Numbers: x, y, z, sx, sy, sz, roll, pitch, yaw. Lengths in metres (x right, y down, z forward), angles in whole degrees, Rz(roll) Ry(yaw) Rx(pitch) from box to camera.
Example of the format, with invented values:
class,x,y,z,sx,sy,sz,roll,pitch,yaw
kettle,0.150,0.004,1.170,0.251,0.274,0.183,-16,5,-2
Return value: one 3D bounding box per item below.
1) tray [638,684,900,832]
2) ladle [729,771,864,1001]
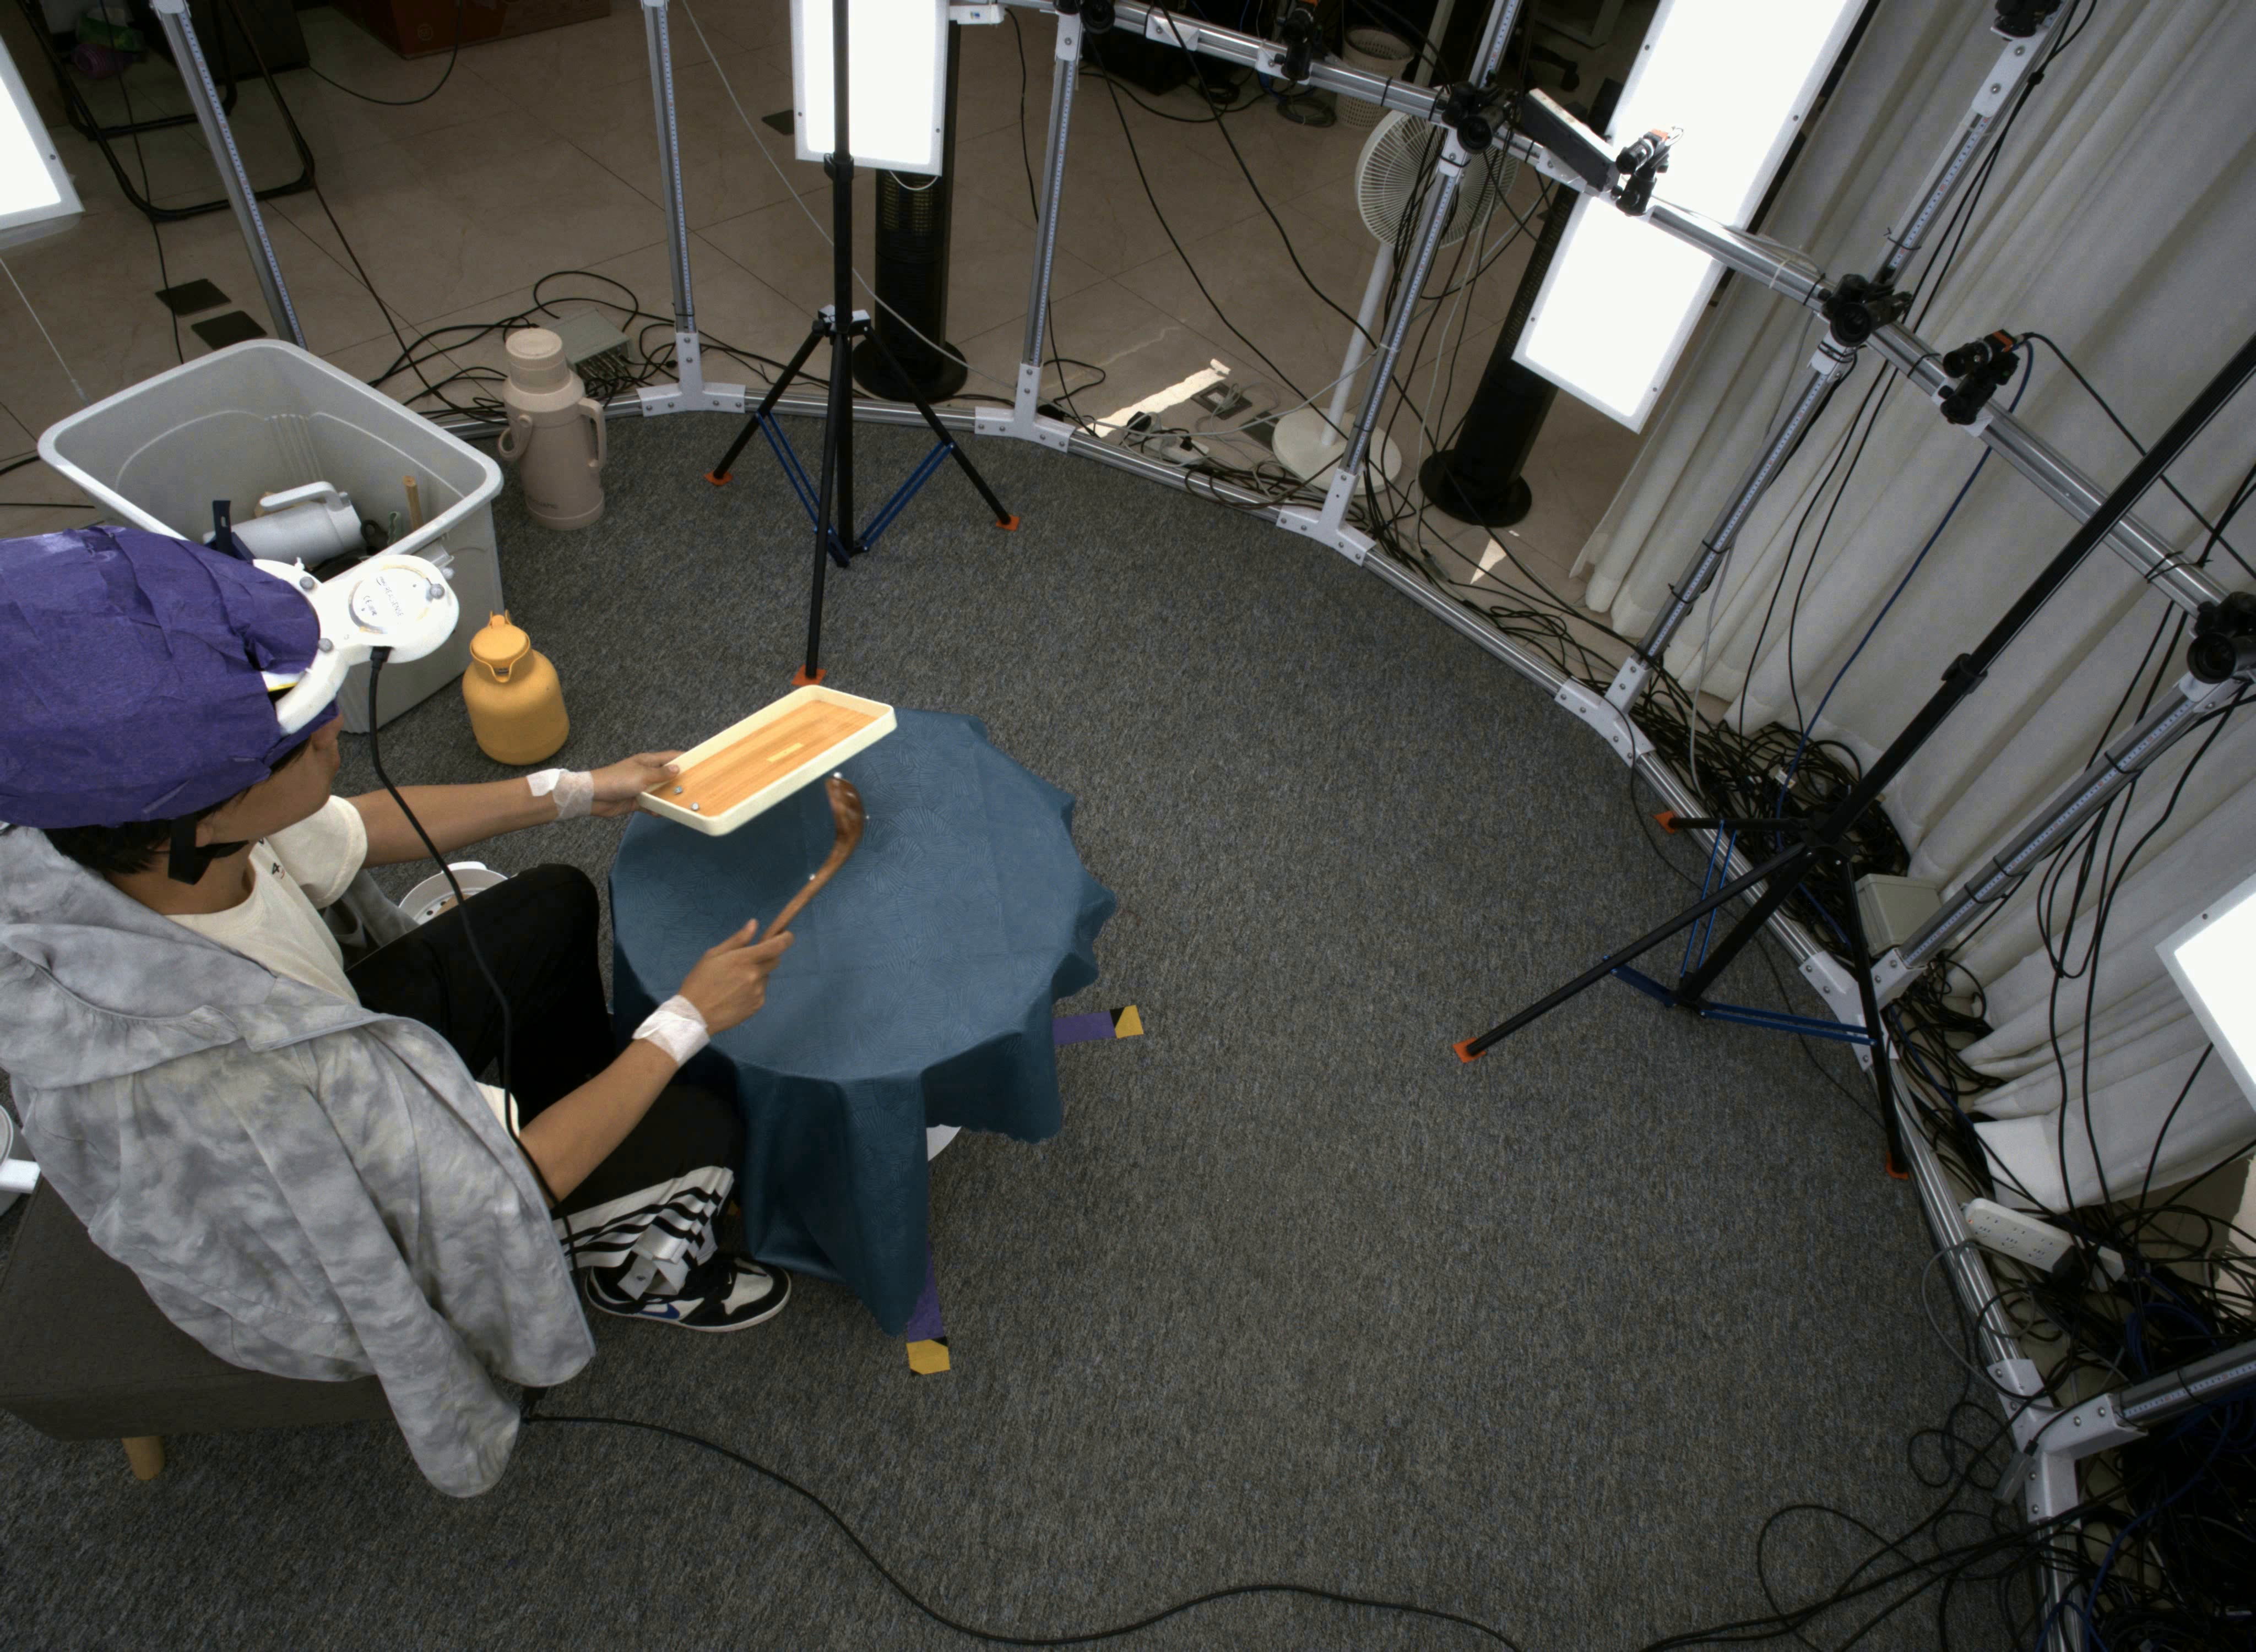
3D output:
class,x,y,z,sx,sy,sz,roll,pitch,yaw
tray,-0.453,-0.093,1.638,0.184,0.028,0.301,16,40,37
ladle,-0.389,0.062,1.466,0.075,0.083,0.274,36,83,8
